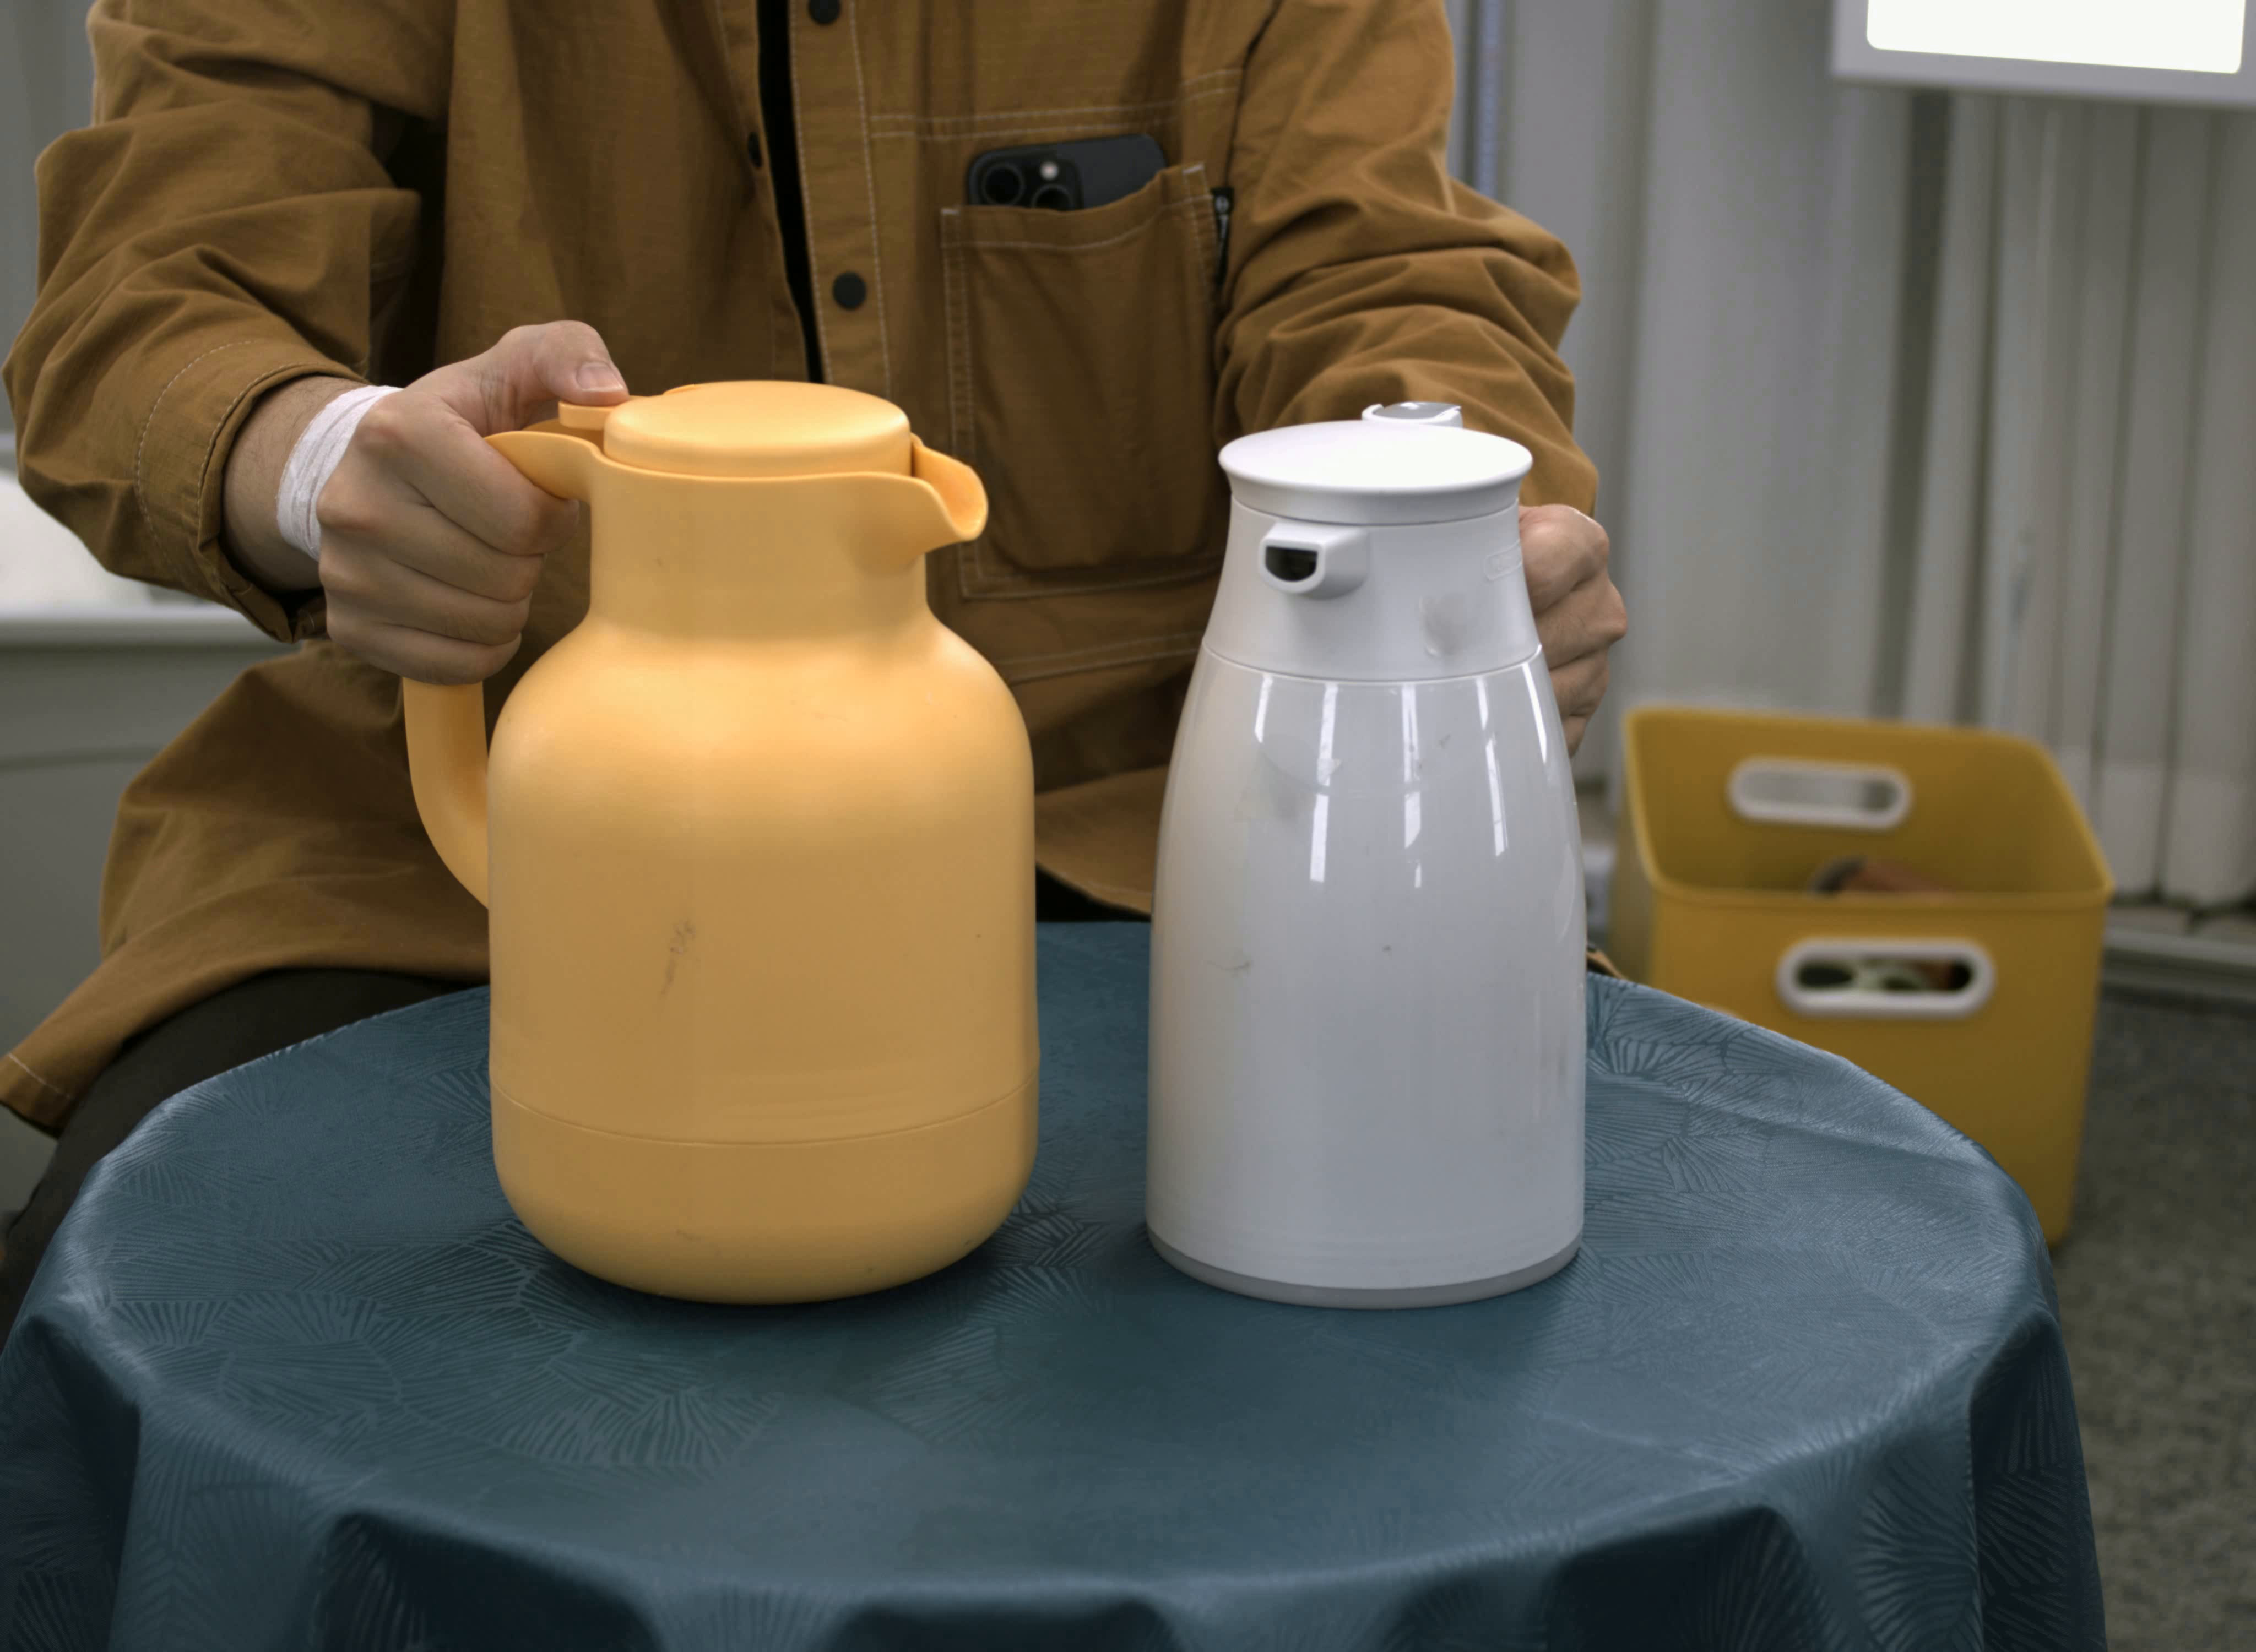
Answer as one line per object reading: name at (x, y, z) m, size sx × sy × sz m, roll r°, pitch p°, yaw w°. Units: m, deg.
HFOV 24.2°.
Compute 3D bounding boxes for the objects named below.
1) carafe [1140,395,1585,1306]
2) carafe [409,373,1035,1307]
carafe at (0.078, -0.002, 1.569) m, size 0.131 × 0.250 × 0.168 m, roll 7°, pitch 17°, yaw 22°
carafe at (-0.123, -0.003, 1.549) m, size 0.200 × 0.262 × 0.164 m, roll 11°, pitch 17°, yaw 30°
